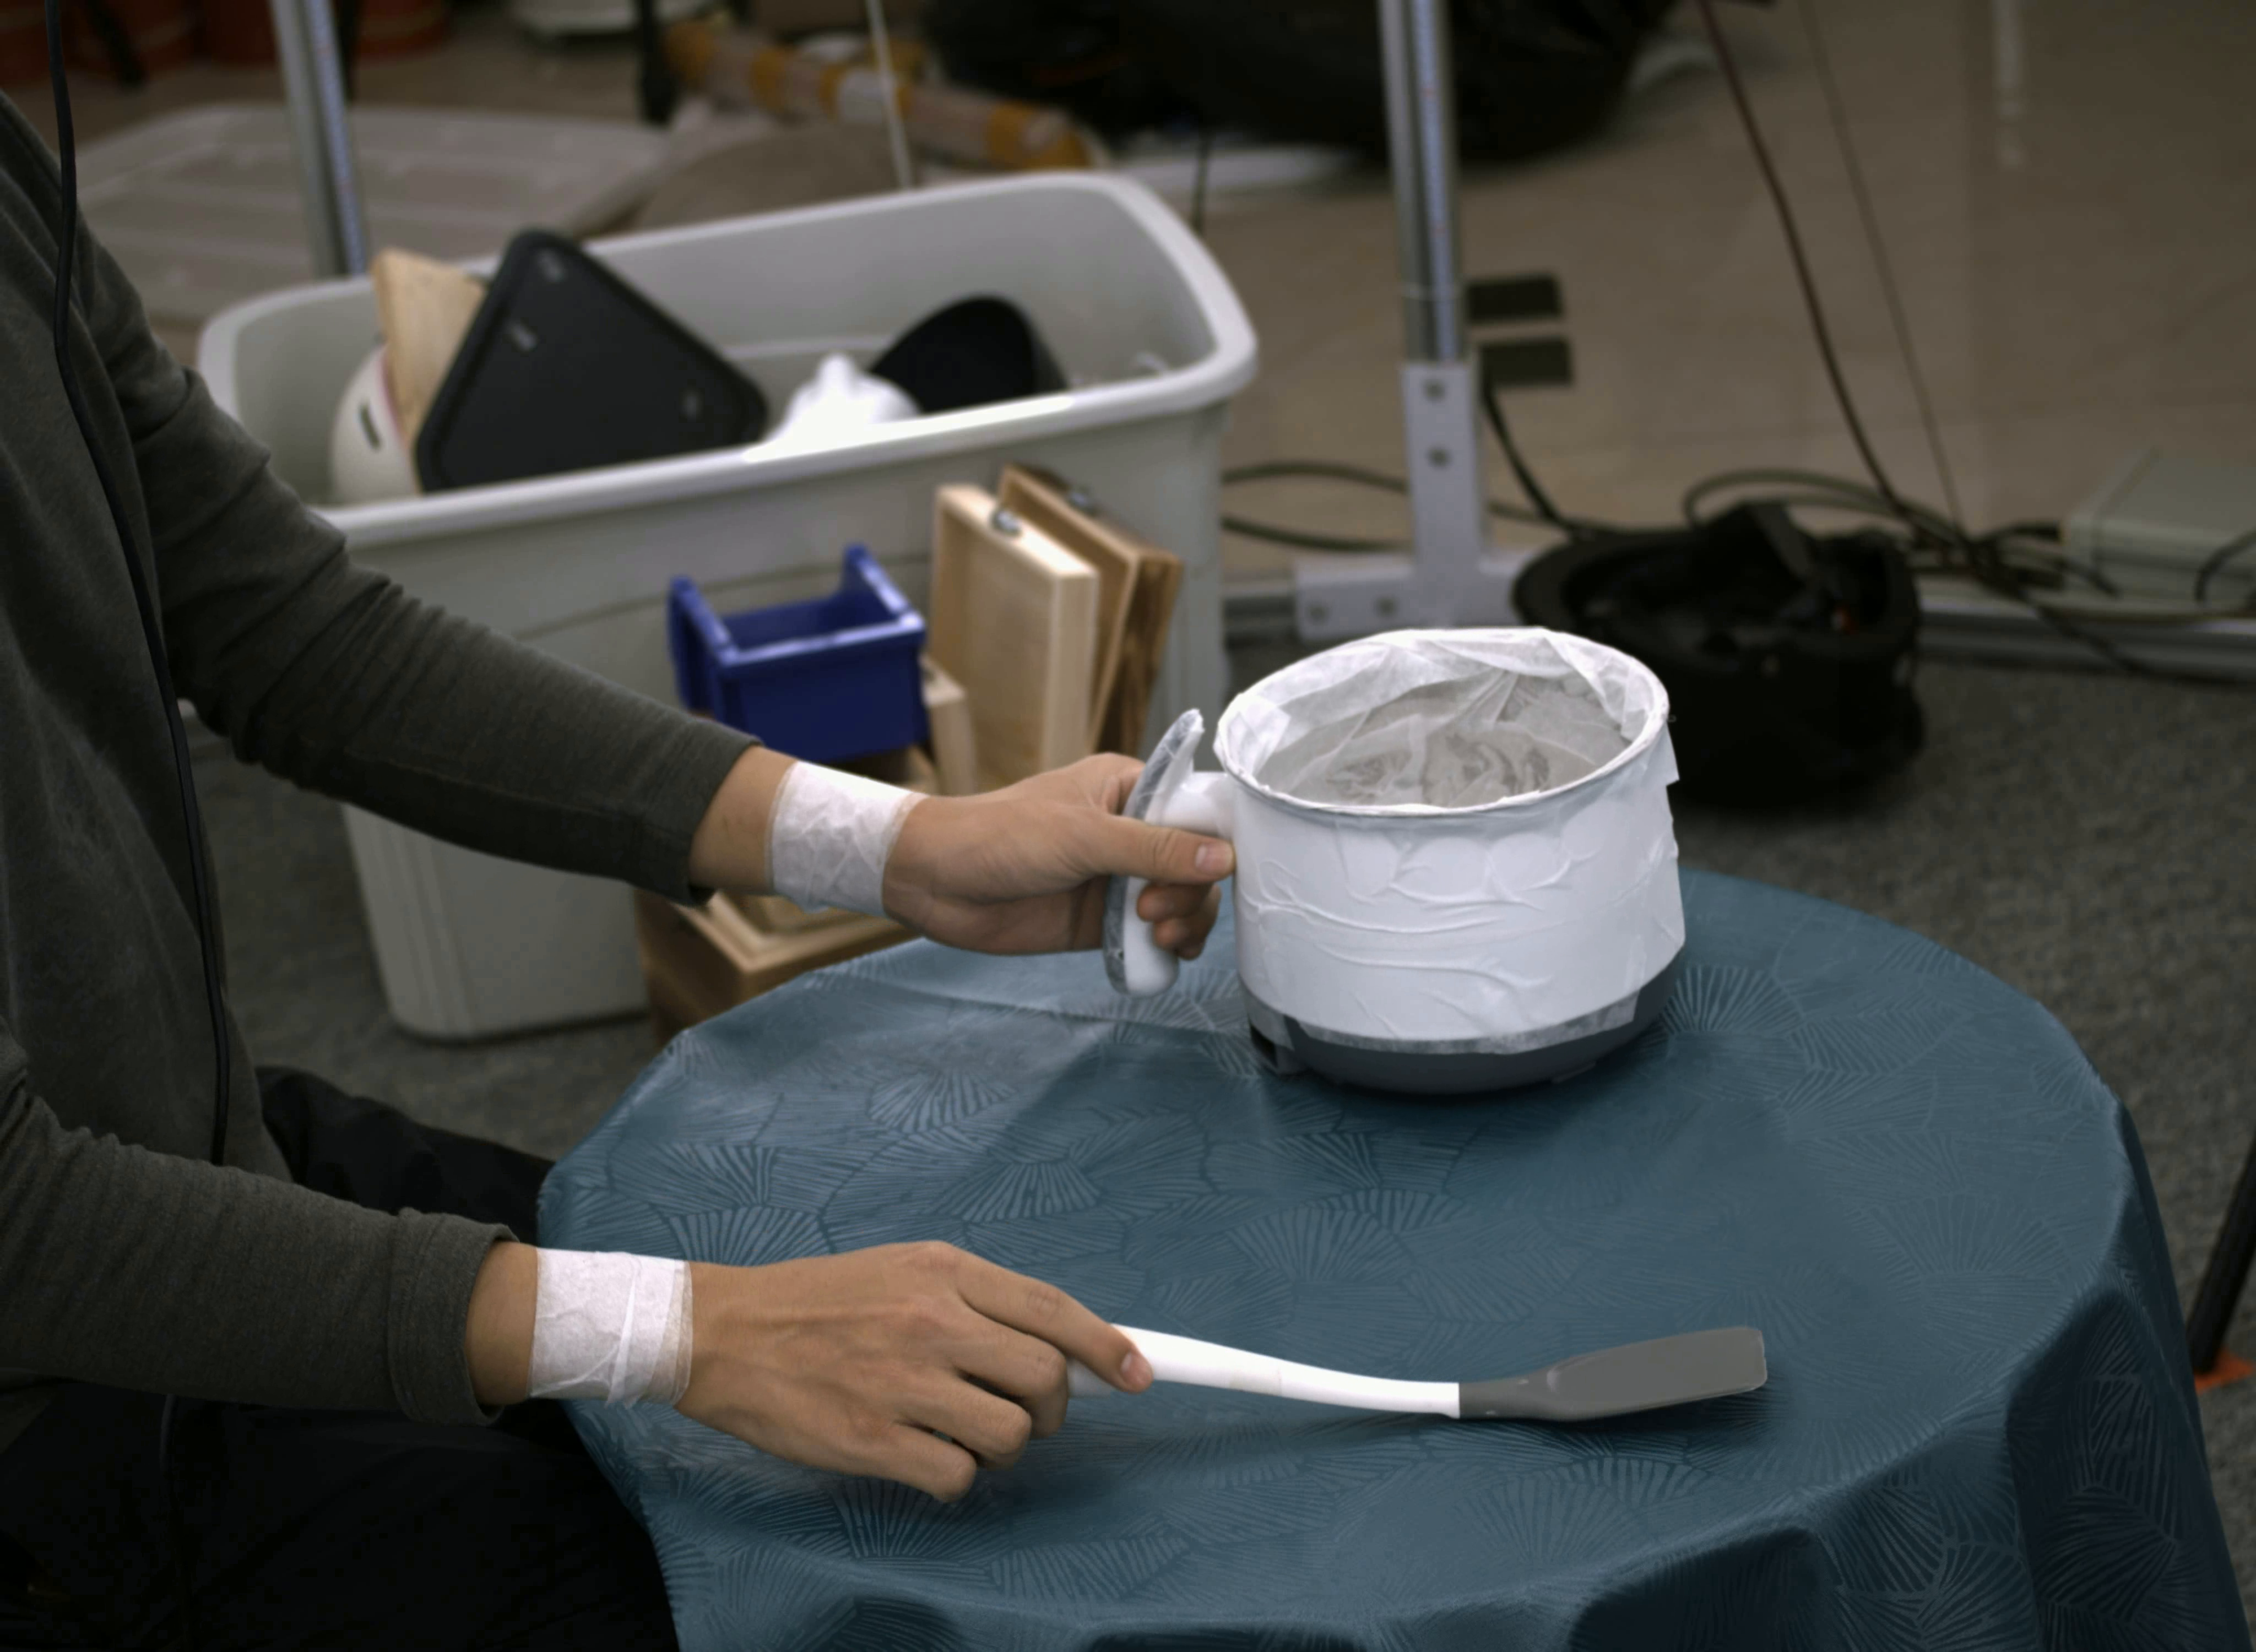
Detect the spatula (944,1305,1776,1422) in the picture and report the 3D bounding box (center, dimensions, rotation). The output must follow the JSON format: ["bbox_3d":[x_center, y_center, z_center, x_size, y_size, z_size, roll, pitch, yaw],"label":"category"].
[{"bbox_3d":[0.080,0.187,1.971,0.287,0.032,0.058,2,19,2],"label":"spatula"}]

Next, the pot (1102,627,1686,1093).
[{"bbox_3d":[0.101,0.015,2.227,0.233,0.139,0.176,-2,25,11],"label":"pot"}]
